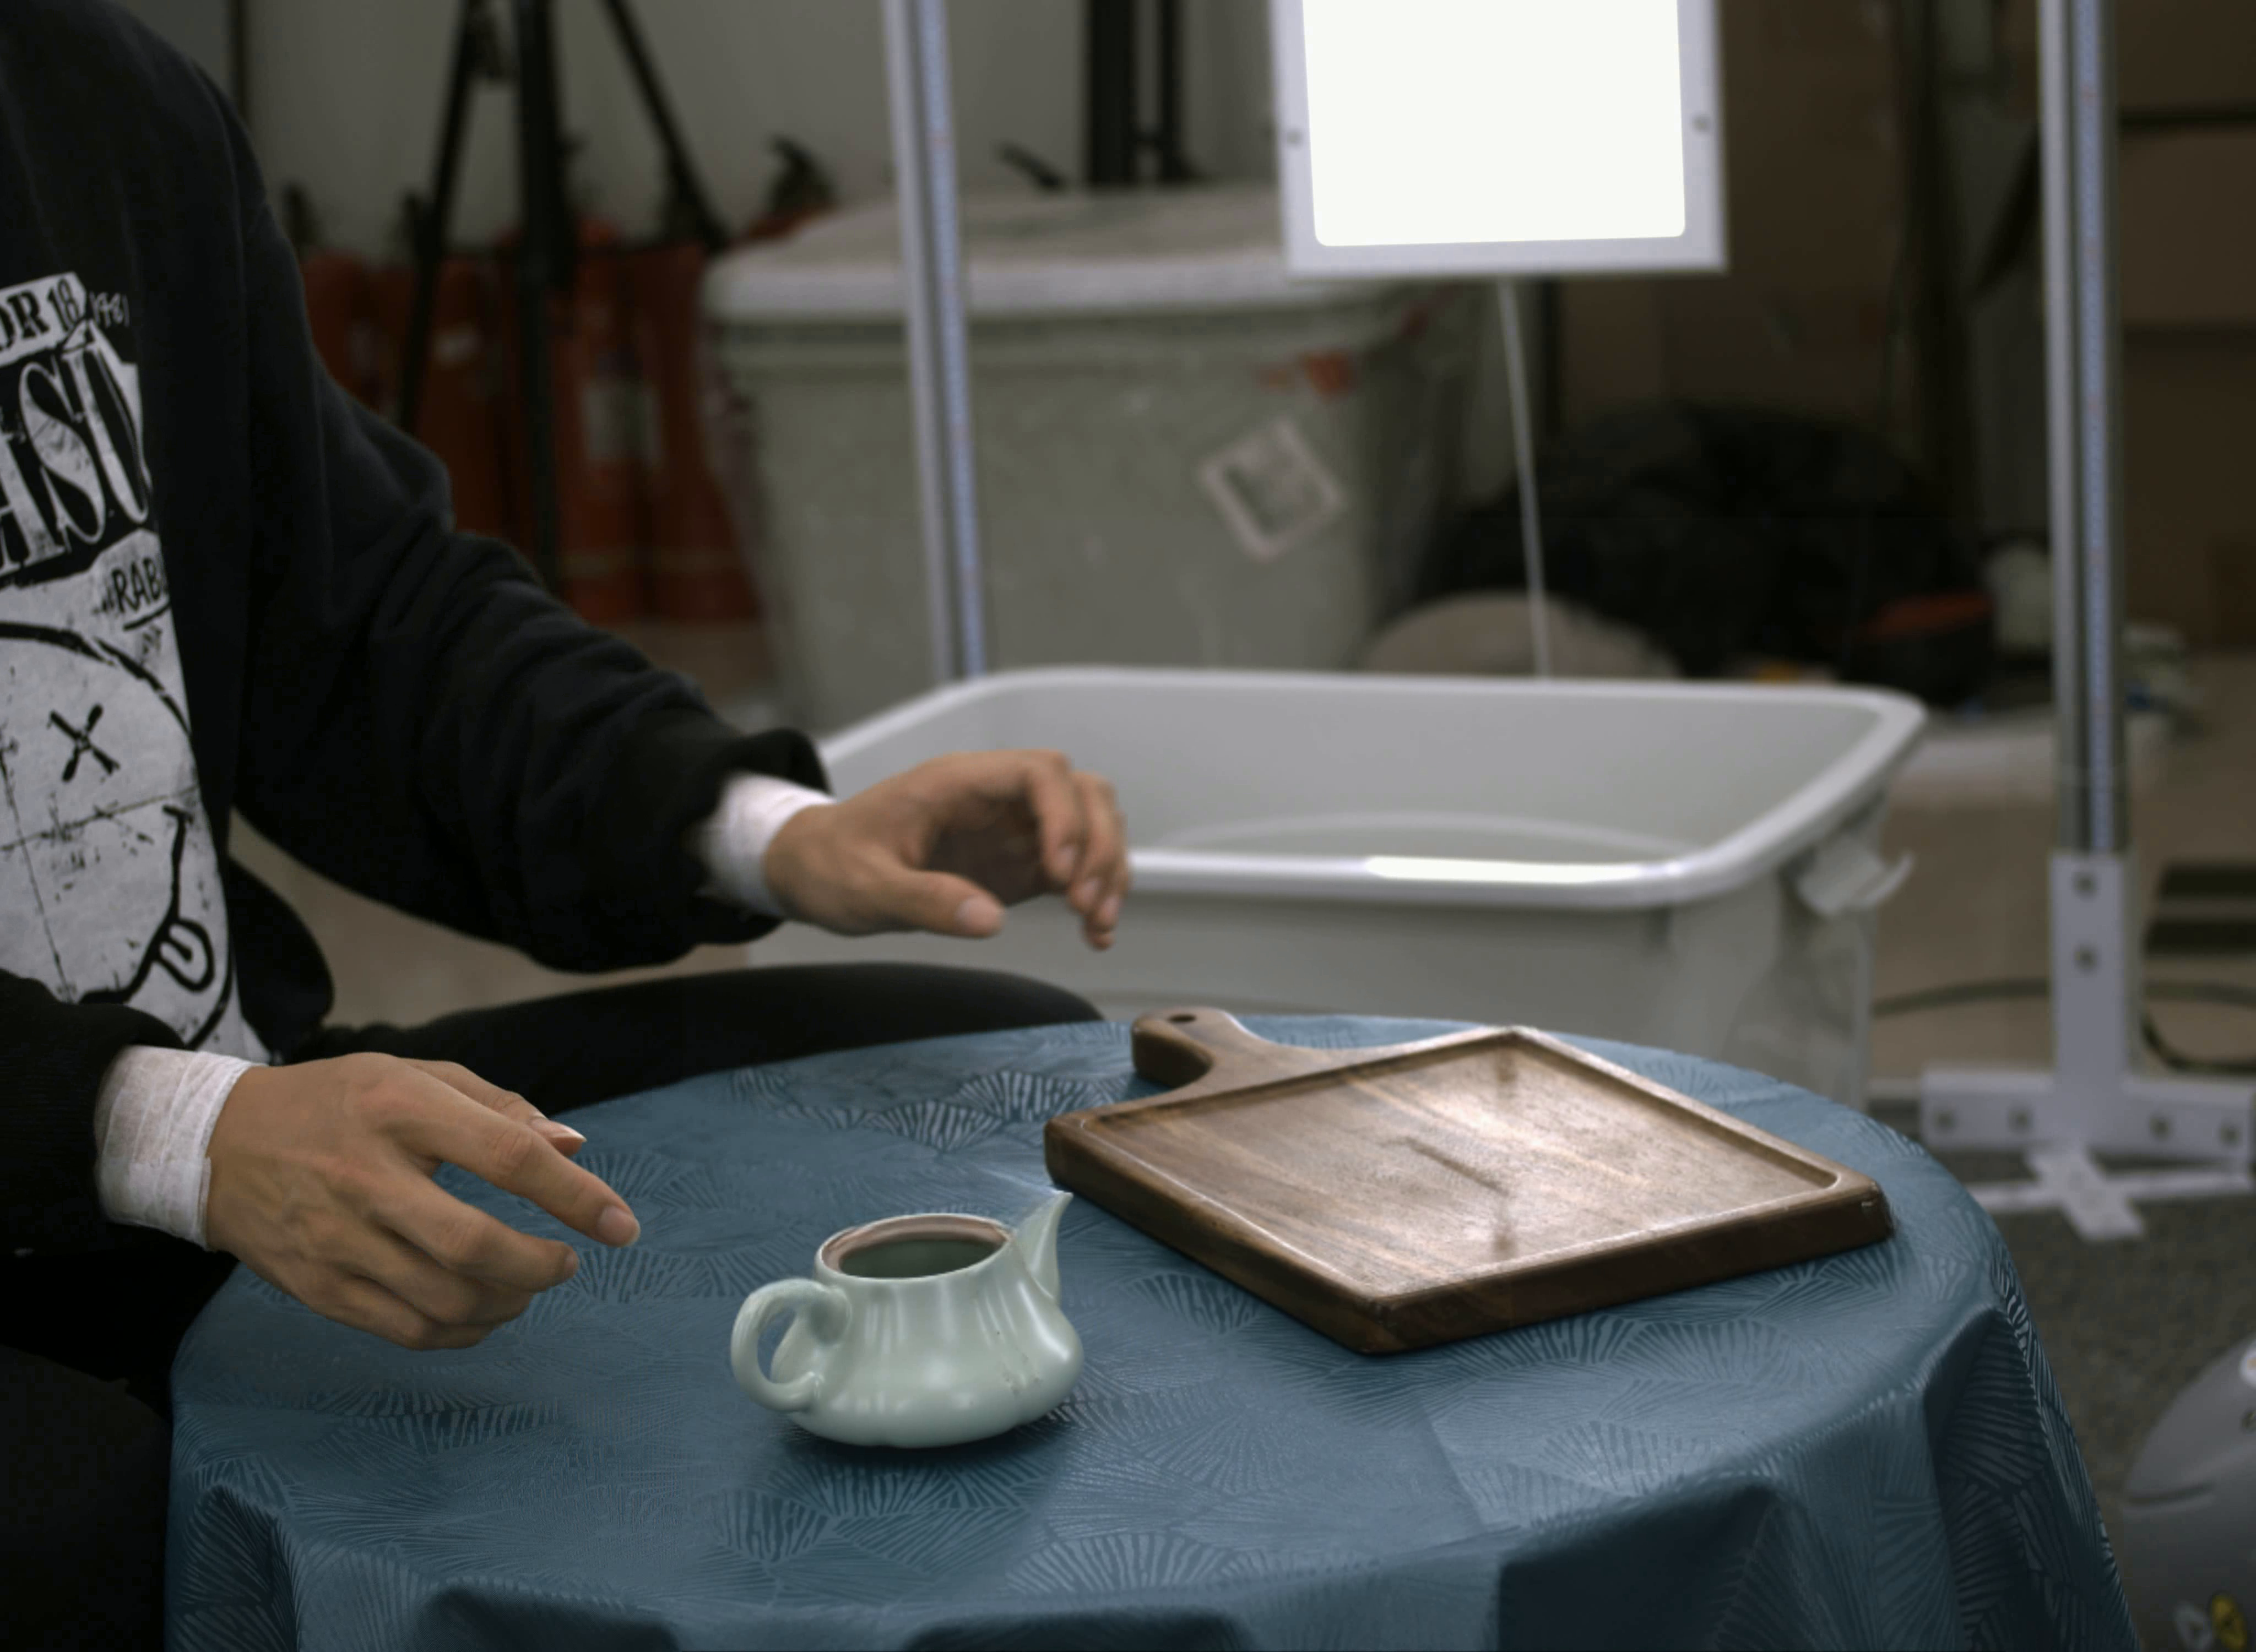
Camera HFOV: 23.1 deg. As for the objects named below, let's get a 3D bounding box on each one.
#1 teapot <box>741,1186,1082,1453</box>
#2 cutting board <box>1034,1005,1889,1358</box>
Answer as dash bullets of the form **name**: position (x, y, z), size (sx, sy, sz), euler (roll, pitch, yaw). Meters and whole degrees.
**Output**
- **teapot**: position (-0.066, 0.155, 1.683), size (0.133, 0.061, 0.098), euler (-18, 20, -42)
- **cutting board**: position (0.086, 0.109, 1.894), size (0.197, 0.023, 0.358), euler (-11, 15, -24)
